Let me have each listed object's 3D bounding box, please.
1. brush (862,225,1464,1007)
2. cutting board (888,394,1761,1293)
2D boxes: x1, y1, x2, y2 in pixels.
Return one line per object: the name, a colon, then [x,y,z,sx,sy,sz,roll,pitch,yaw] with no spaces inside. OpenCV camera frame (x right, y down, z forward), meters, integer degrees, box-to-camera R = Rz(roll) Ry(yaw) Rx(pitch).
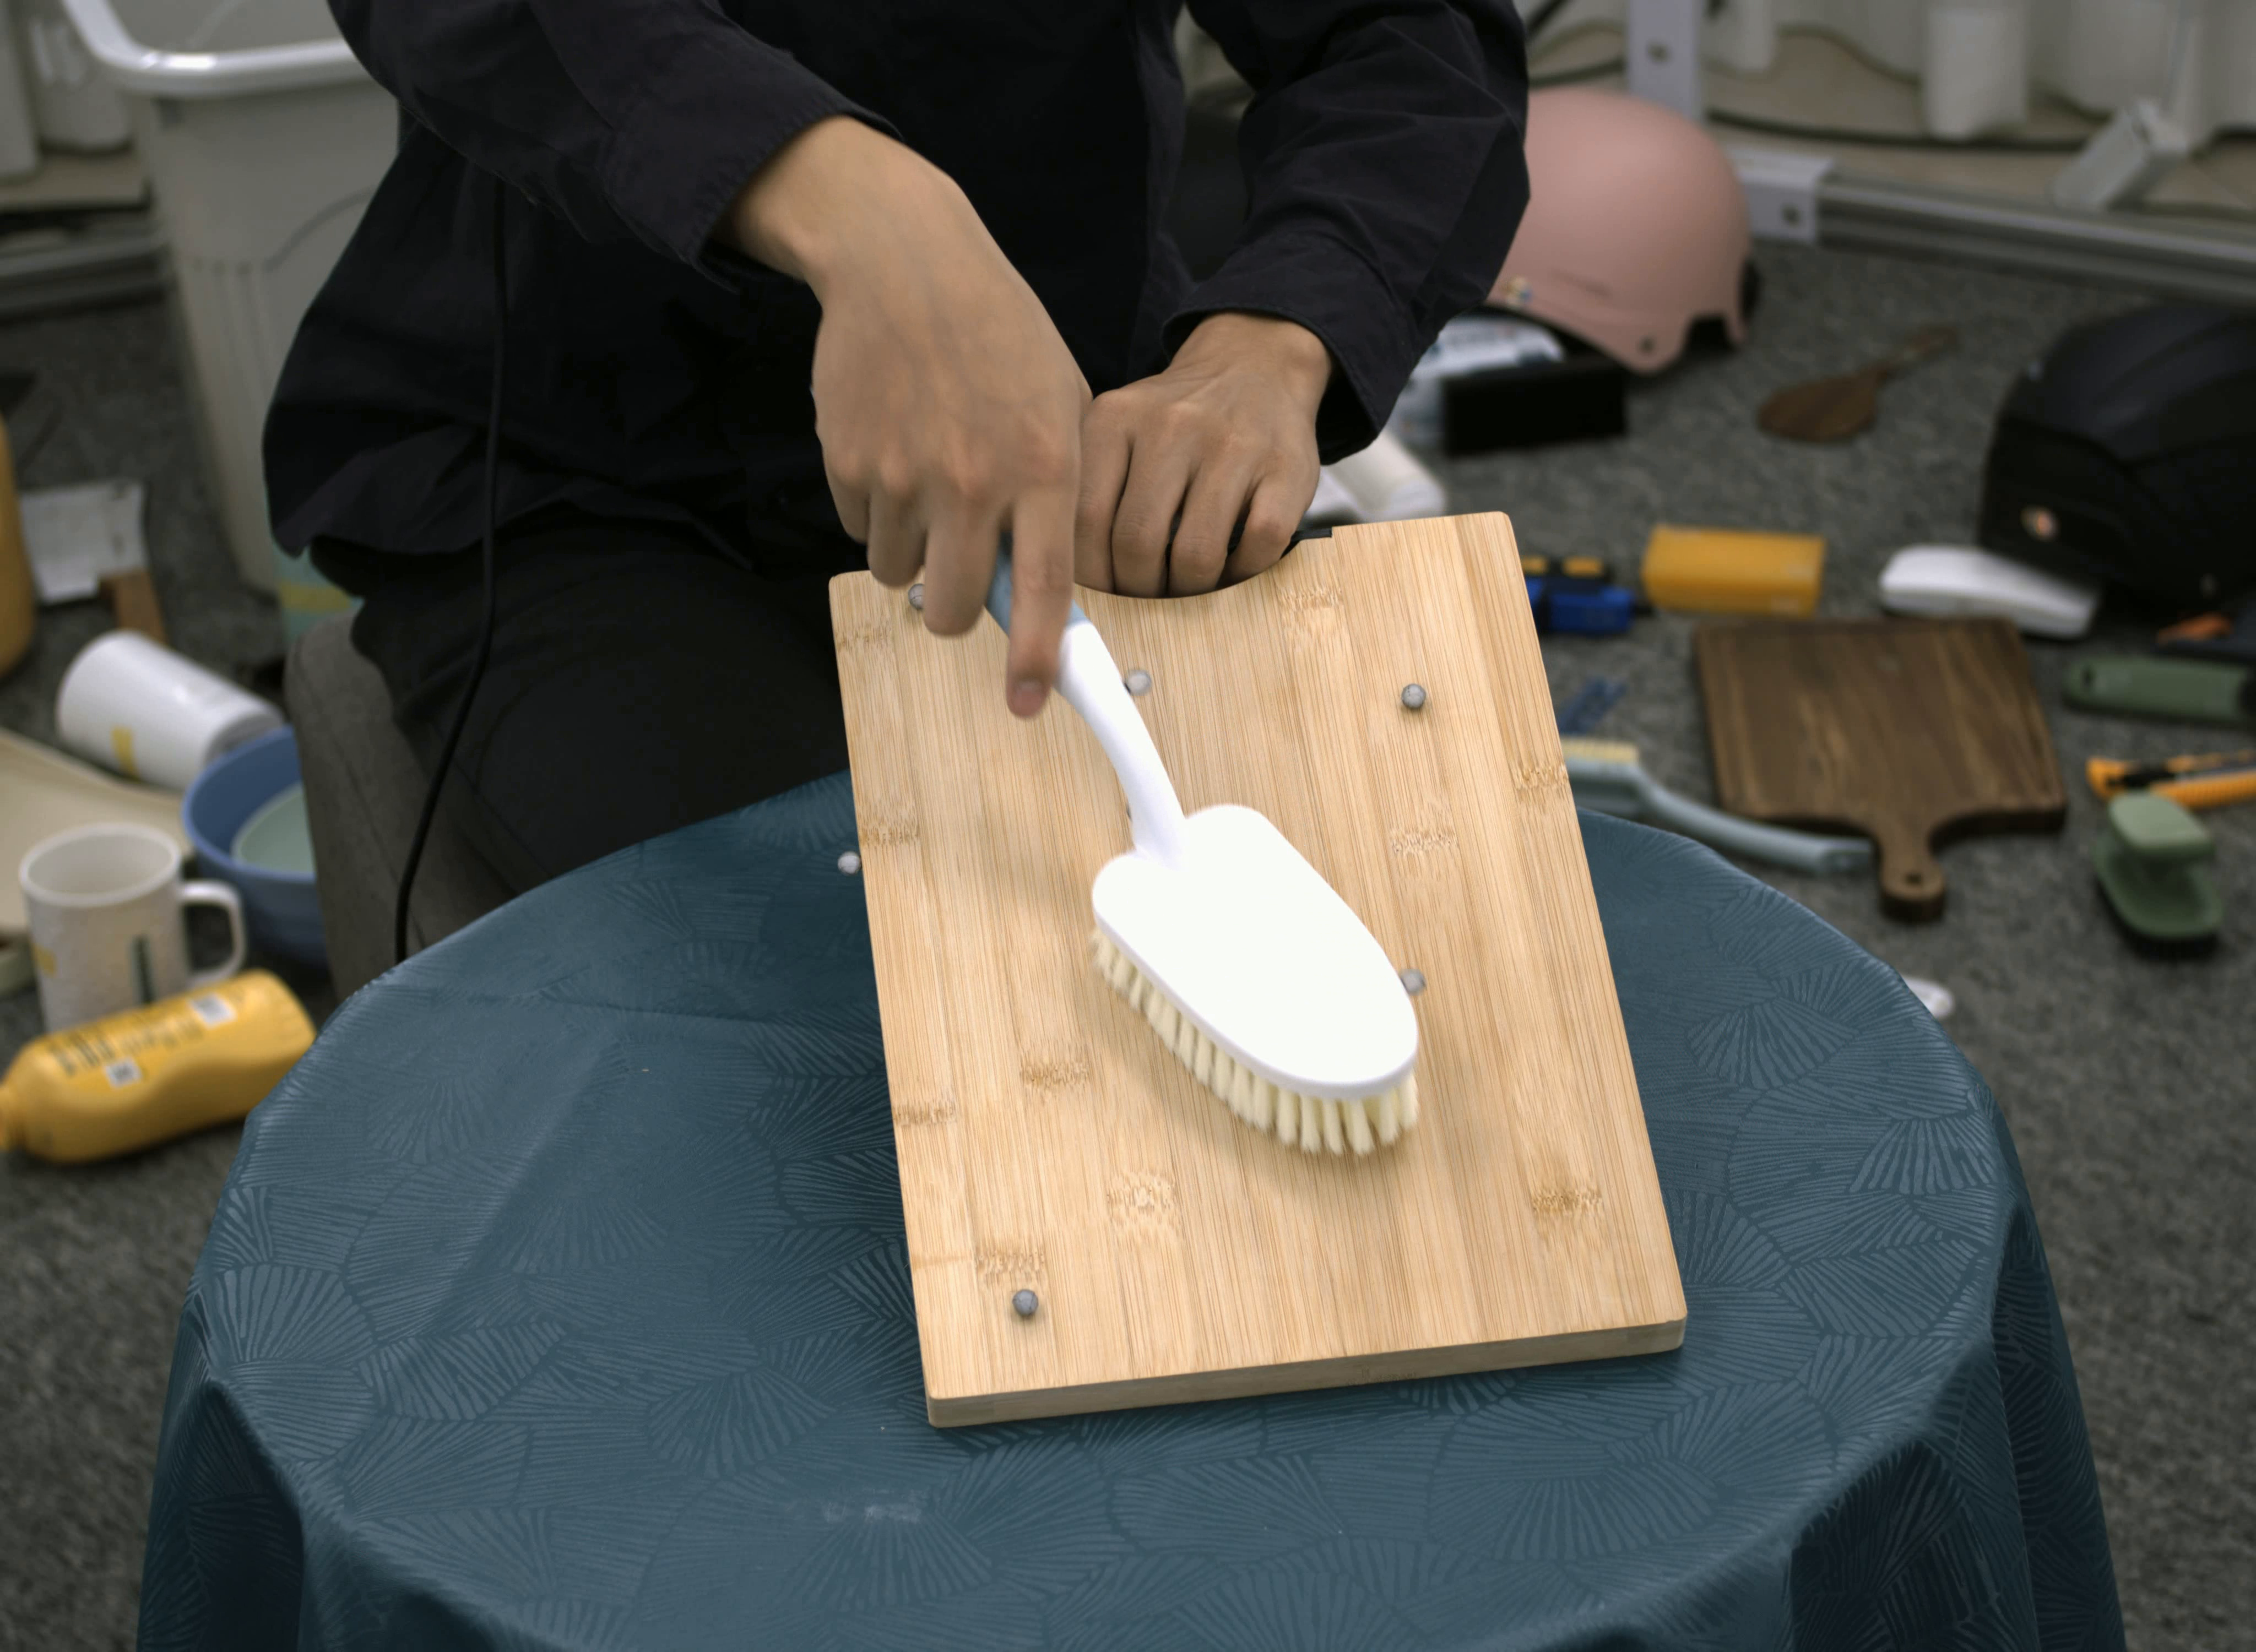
brush: [0.009,-0.066,1.863,0.083,0.083,0.328,-4,51,-54]
cutting board: [0.058,0.000,1.871,0.250,0.023,0.355,-6,51,-6]
